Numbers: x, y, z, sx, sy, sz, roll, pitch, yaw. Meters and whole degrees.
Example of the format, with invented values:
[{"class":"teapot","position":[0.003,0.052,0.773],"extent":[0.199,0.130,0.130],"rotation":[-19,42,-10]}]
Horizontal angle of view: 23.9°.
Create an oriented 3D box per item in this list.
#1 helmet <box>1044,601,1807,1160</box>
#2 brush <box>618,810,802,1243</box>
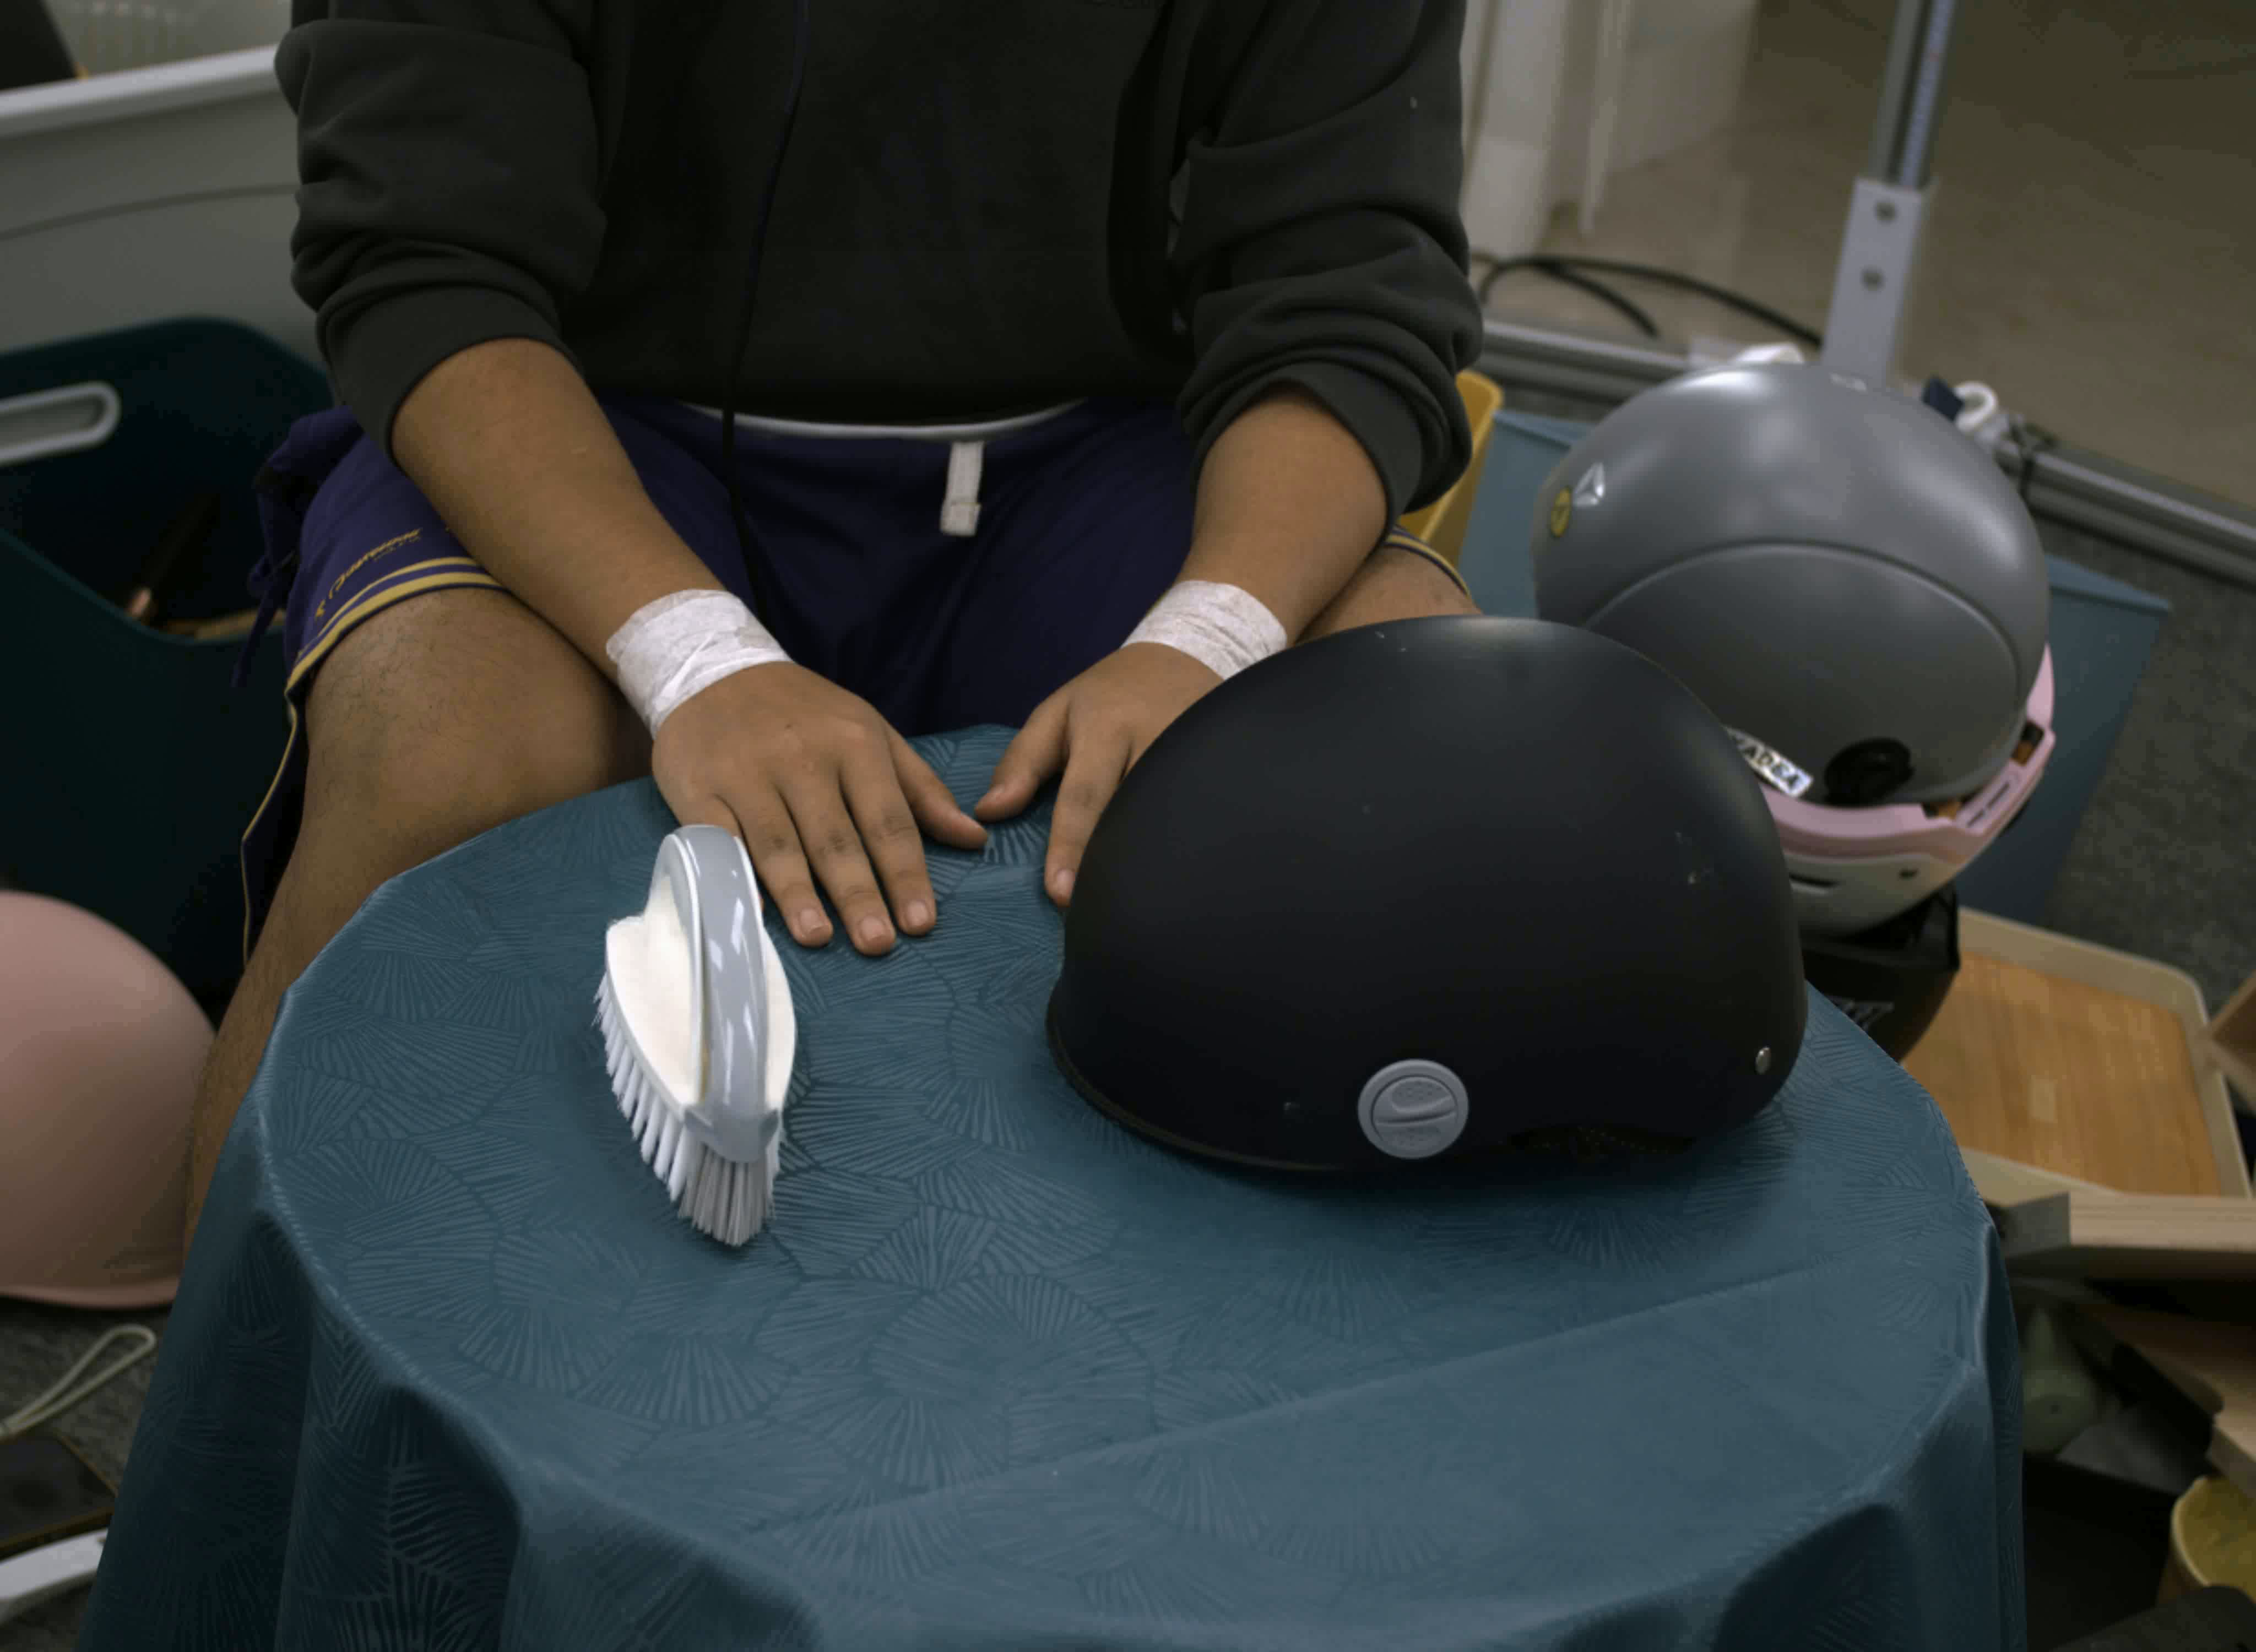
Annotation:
[{"class":"helmet","position":[0.110,0.009,1.876],"extent":[0.272,0.166,0.232],"rotation":[-2,28,-12]},{"class":"brush","position":[-0.137,0.059,1.796],"extent":[0.061,0.094,0.177],"rotation":[-1,29,-11]}]
